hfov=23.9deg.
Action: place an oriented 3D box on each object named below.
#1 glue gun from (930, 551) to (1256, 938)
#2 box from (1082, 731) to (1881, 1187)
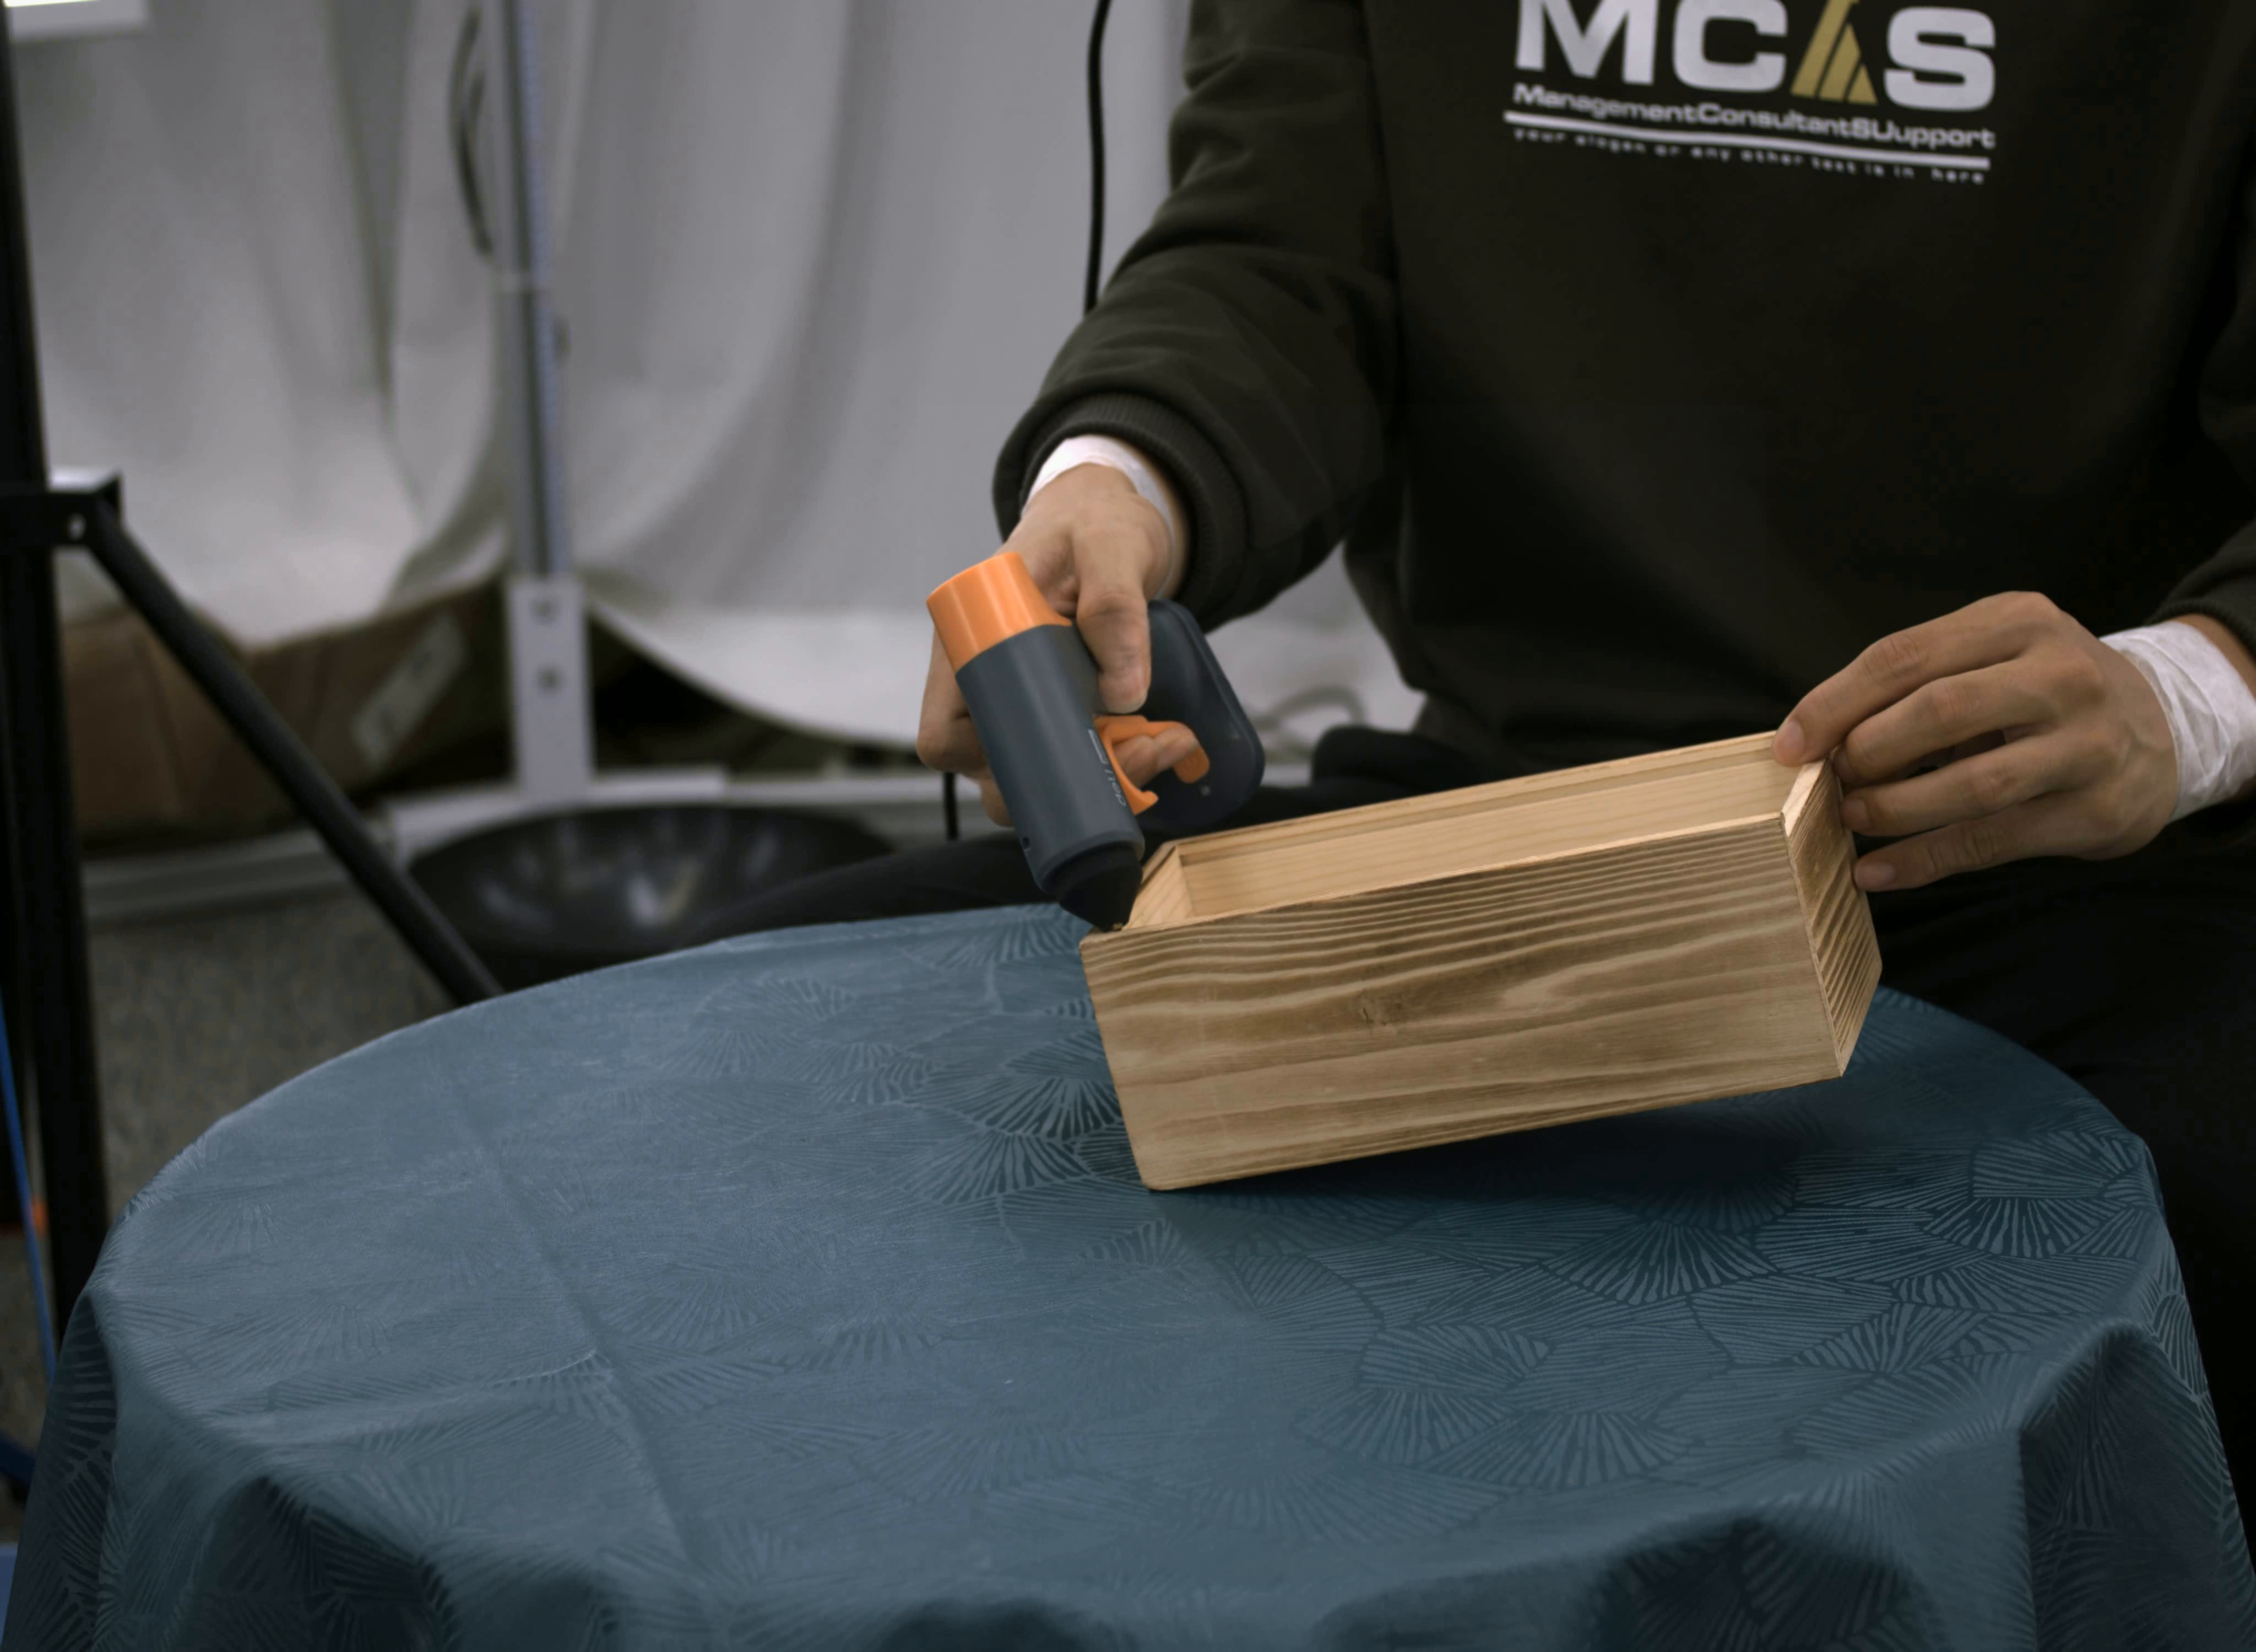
[{"bbox_3d":[-0.009,-0.025,1.608,0.041,0.119,0.137,-29,-7,21],"label":"glue gun"},{"bbox_3d":[0.106,0.039,1.563,0.213,0.080,0.106,-10,12,18],"label":"box"}]
